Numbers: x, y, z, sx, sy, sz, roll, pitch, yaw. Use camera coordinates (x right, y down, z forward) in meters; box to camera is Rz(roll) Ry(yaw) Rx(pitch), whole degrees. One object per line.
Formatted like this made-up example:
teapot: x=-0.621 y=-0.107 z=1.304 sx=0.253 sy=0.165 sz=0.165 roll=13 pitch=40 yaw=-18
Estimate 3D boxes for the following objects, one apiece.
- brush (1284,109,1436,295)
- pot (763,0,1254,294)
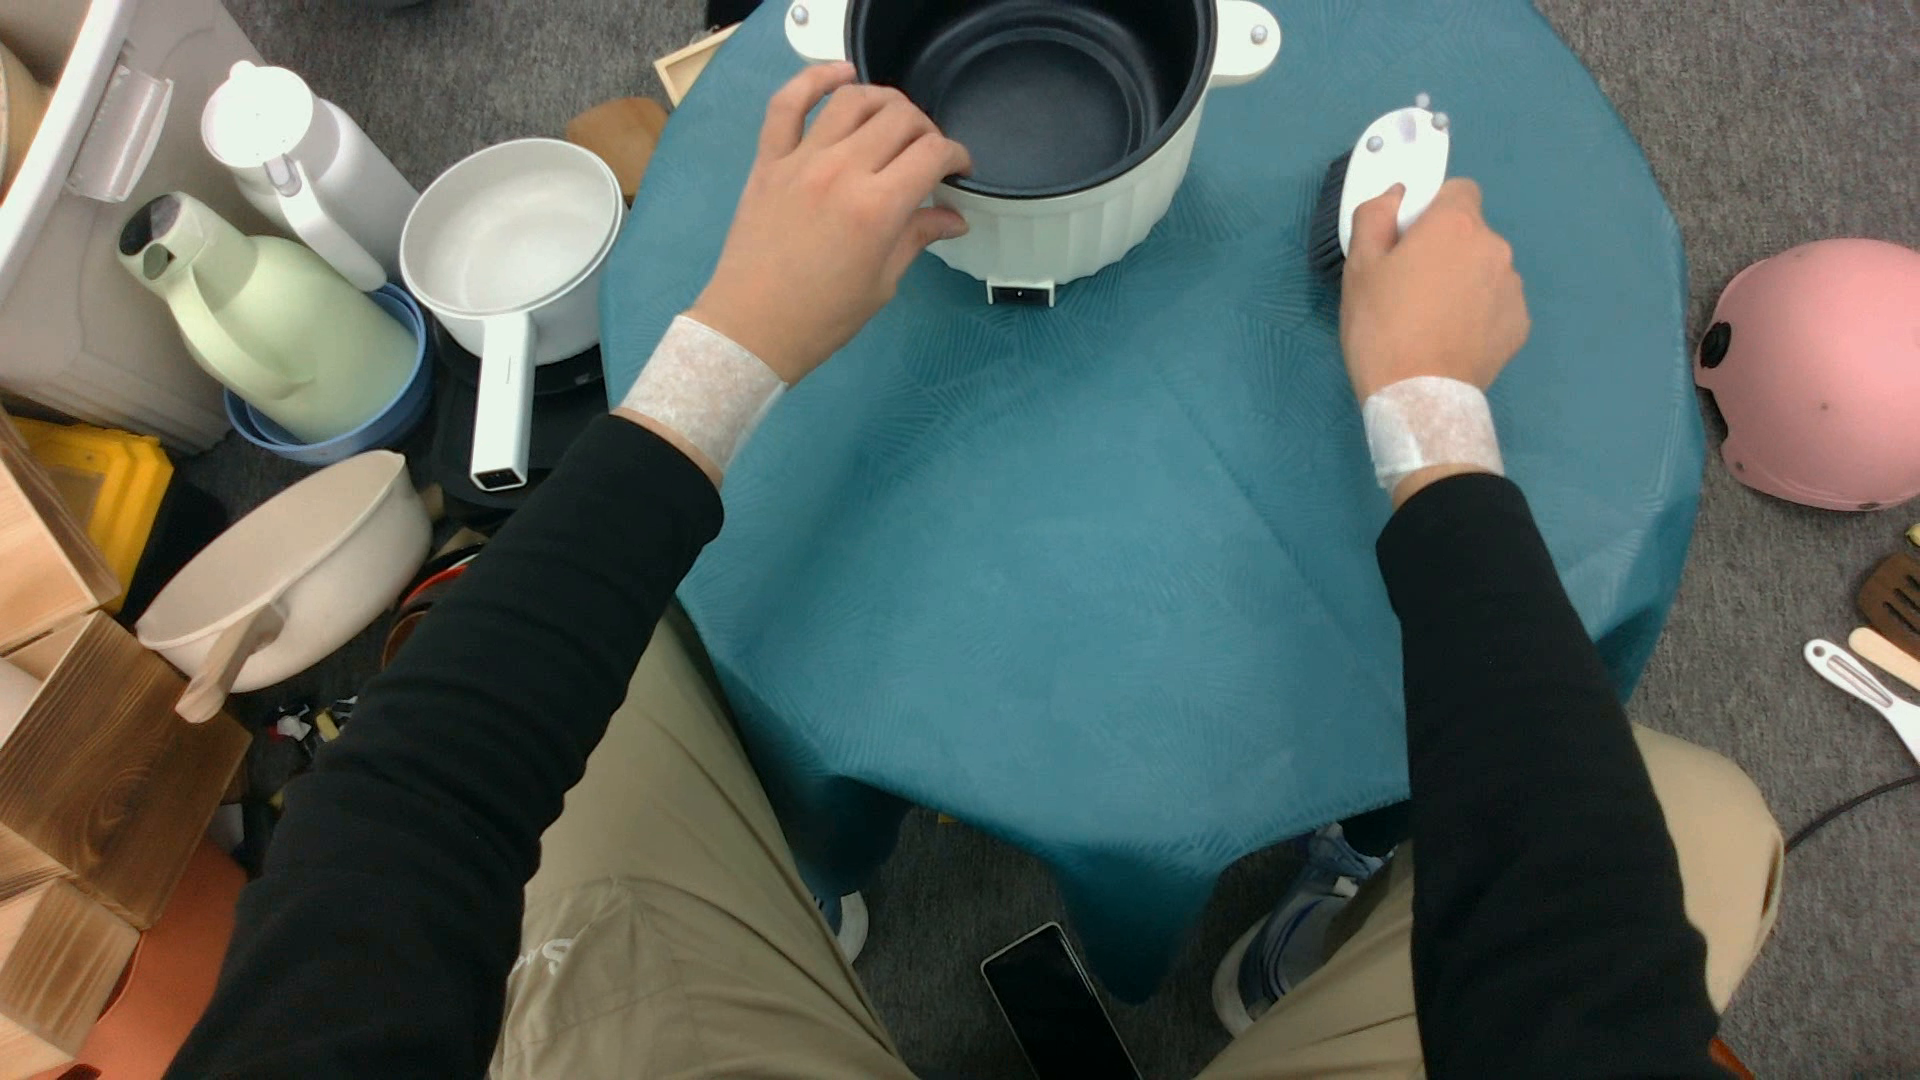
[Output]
brush: x=0.218 y=-0.185 z=0.727 sx=0.050 sy=0.072 sz=0.099 roll=31 pitch=60 yaw=-19
pot: x=0.025 y=-0.242 z=0.734 sx=0.240 sy=0.142 sz=0.191 roll=3 pitch=78 yaw=2
